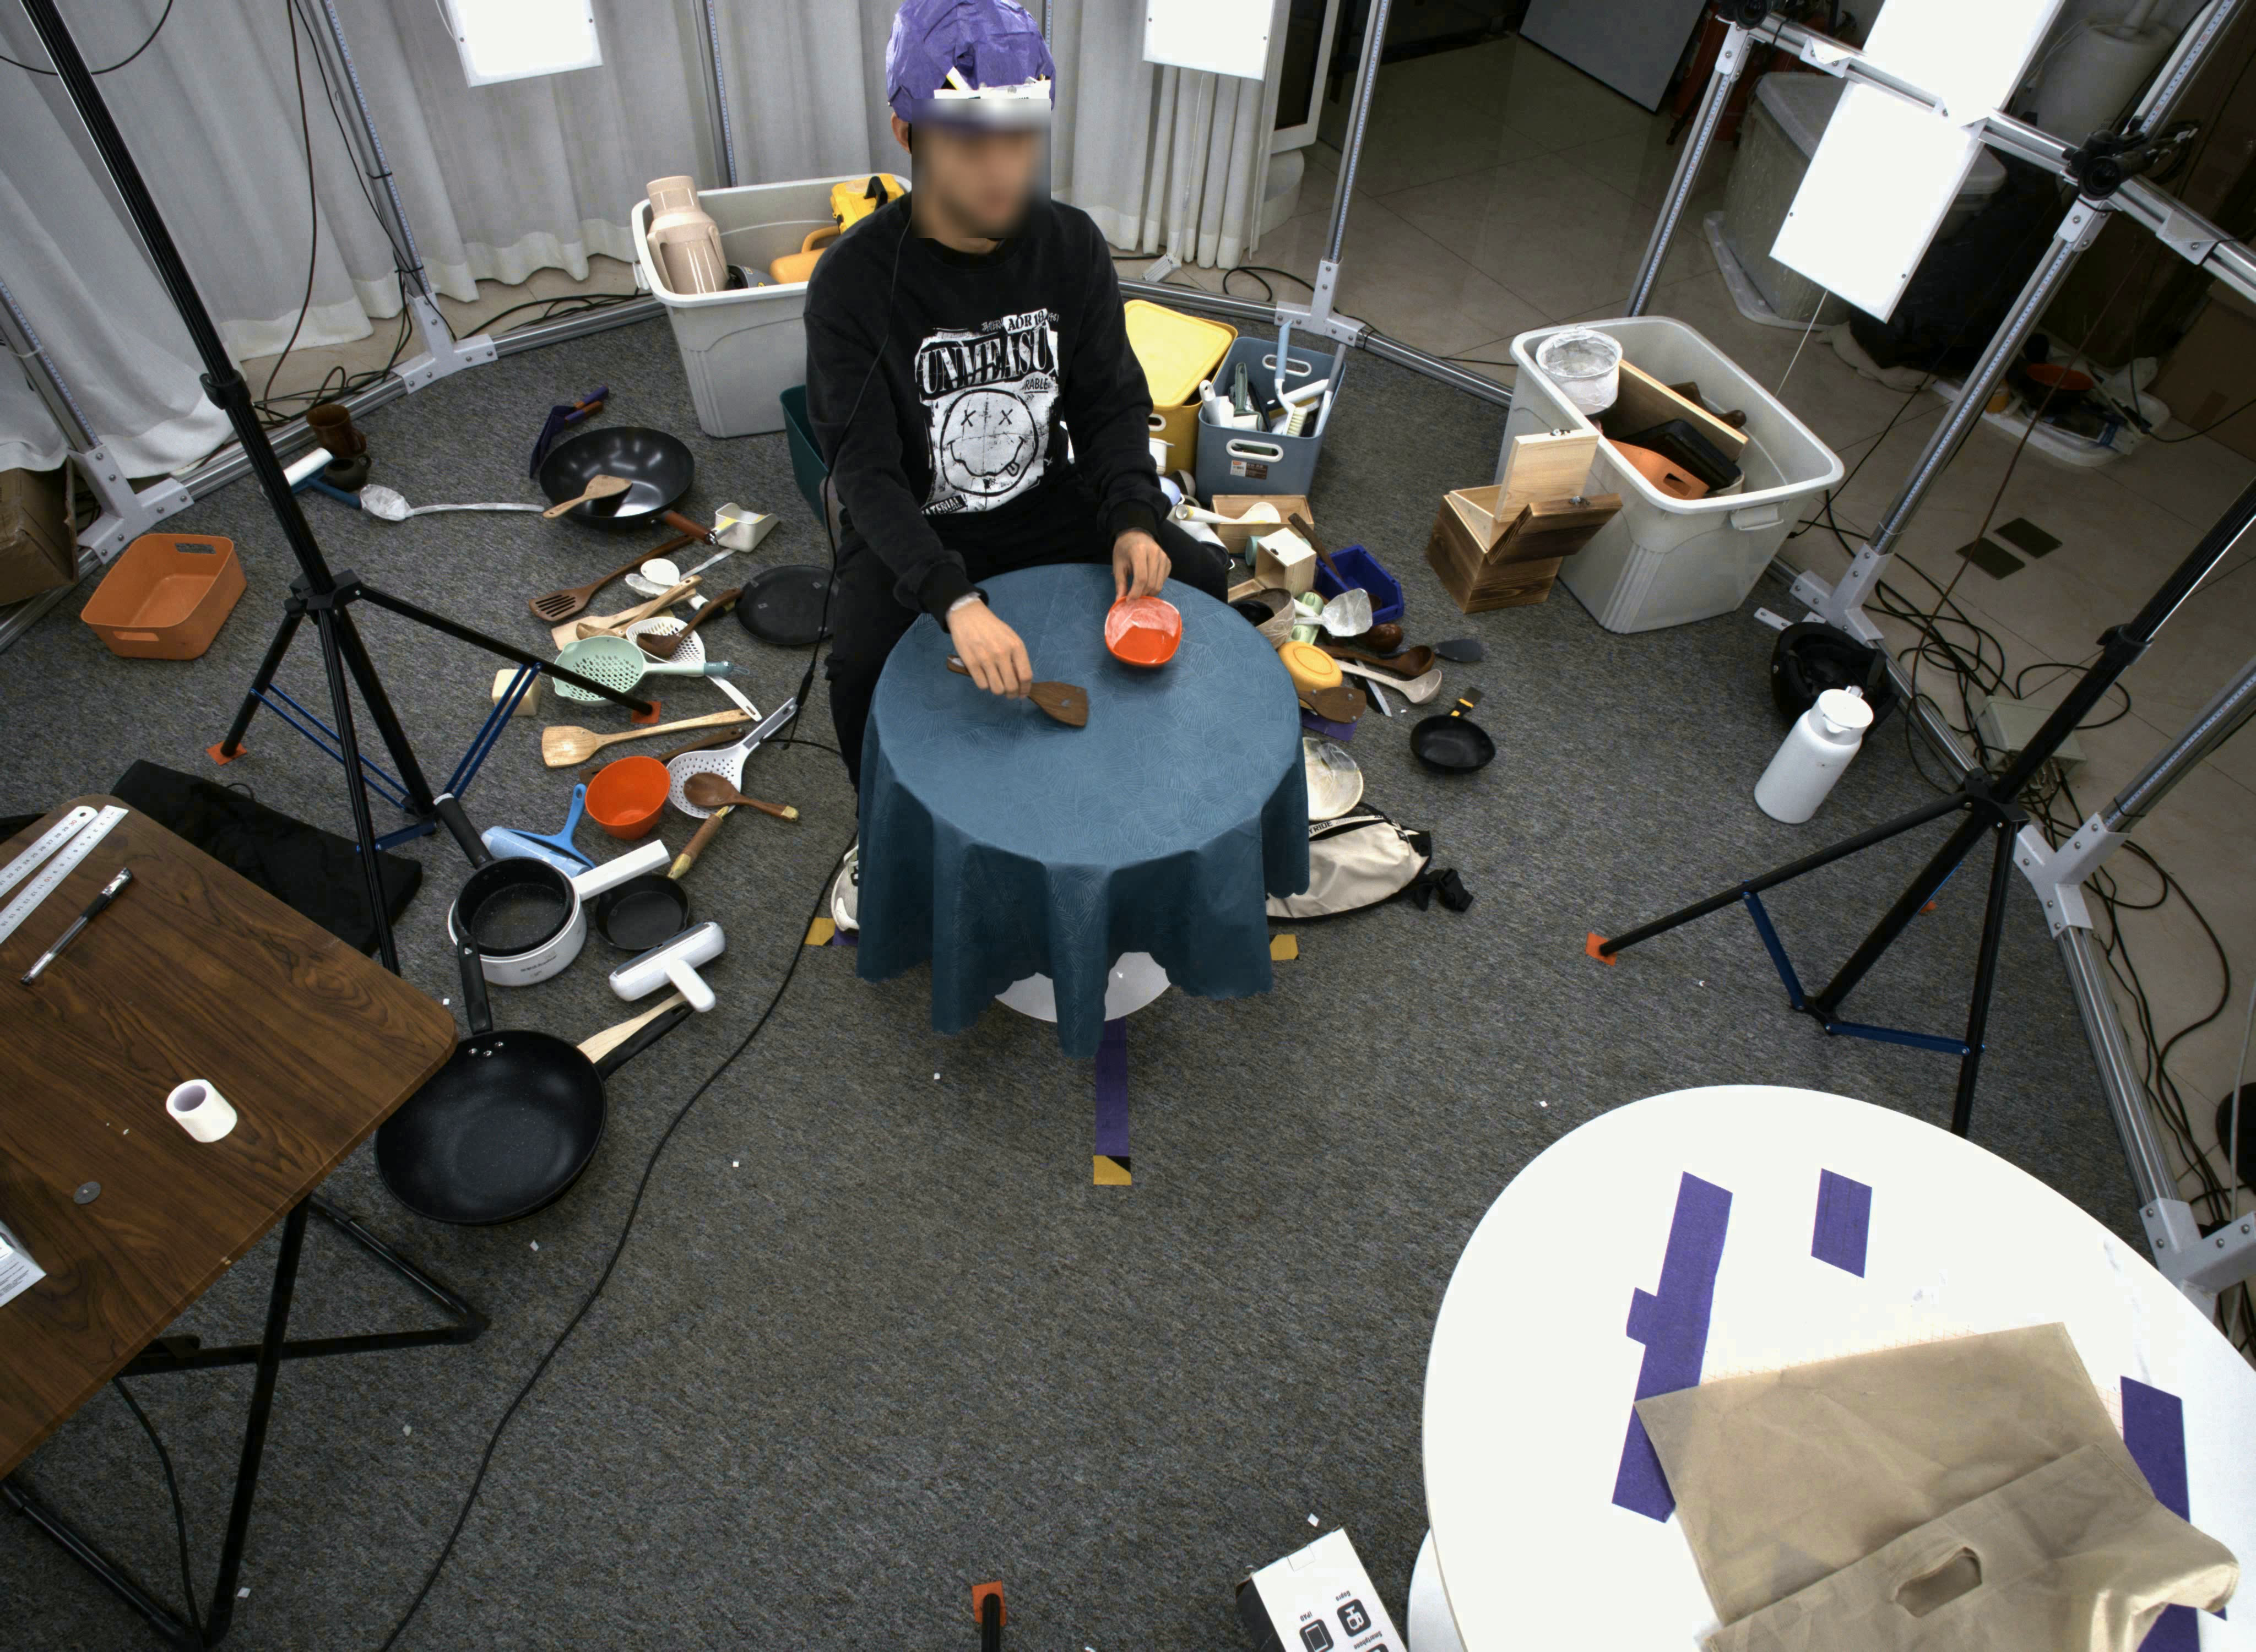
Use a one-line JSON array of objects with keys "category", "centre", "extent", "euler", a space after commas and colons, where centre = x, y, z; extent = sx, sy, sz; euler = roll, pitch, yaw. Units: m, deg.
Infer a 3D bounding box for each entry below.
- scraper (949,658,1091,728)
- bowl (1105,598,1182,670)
[{"category": "scraper", "centre": [-0.148, -0.192, 1.787], "extent": [0.209, 0.010, 0.078], "euler": [17, 47, -19]}, {"category": "bowl", "centre": [0.021, -0.273, 1.880], "extent": [0.119, 0.050, 0.121], "euler": [1, 67, -4]}]
